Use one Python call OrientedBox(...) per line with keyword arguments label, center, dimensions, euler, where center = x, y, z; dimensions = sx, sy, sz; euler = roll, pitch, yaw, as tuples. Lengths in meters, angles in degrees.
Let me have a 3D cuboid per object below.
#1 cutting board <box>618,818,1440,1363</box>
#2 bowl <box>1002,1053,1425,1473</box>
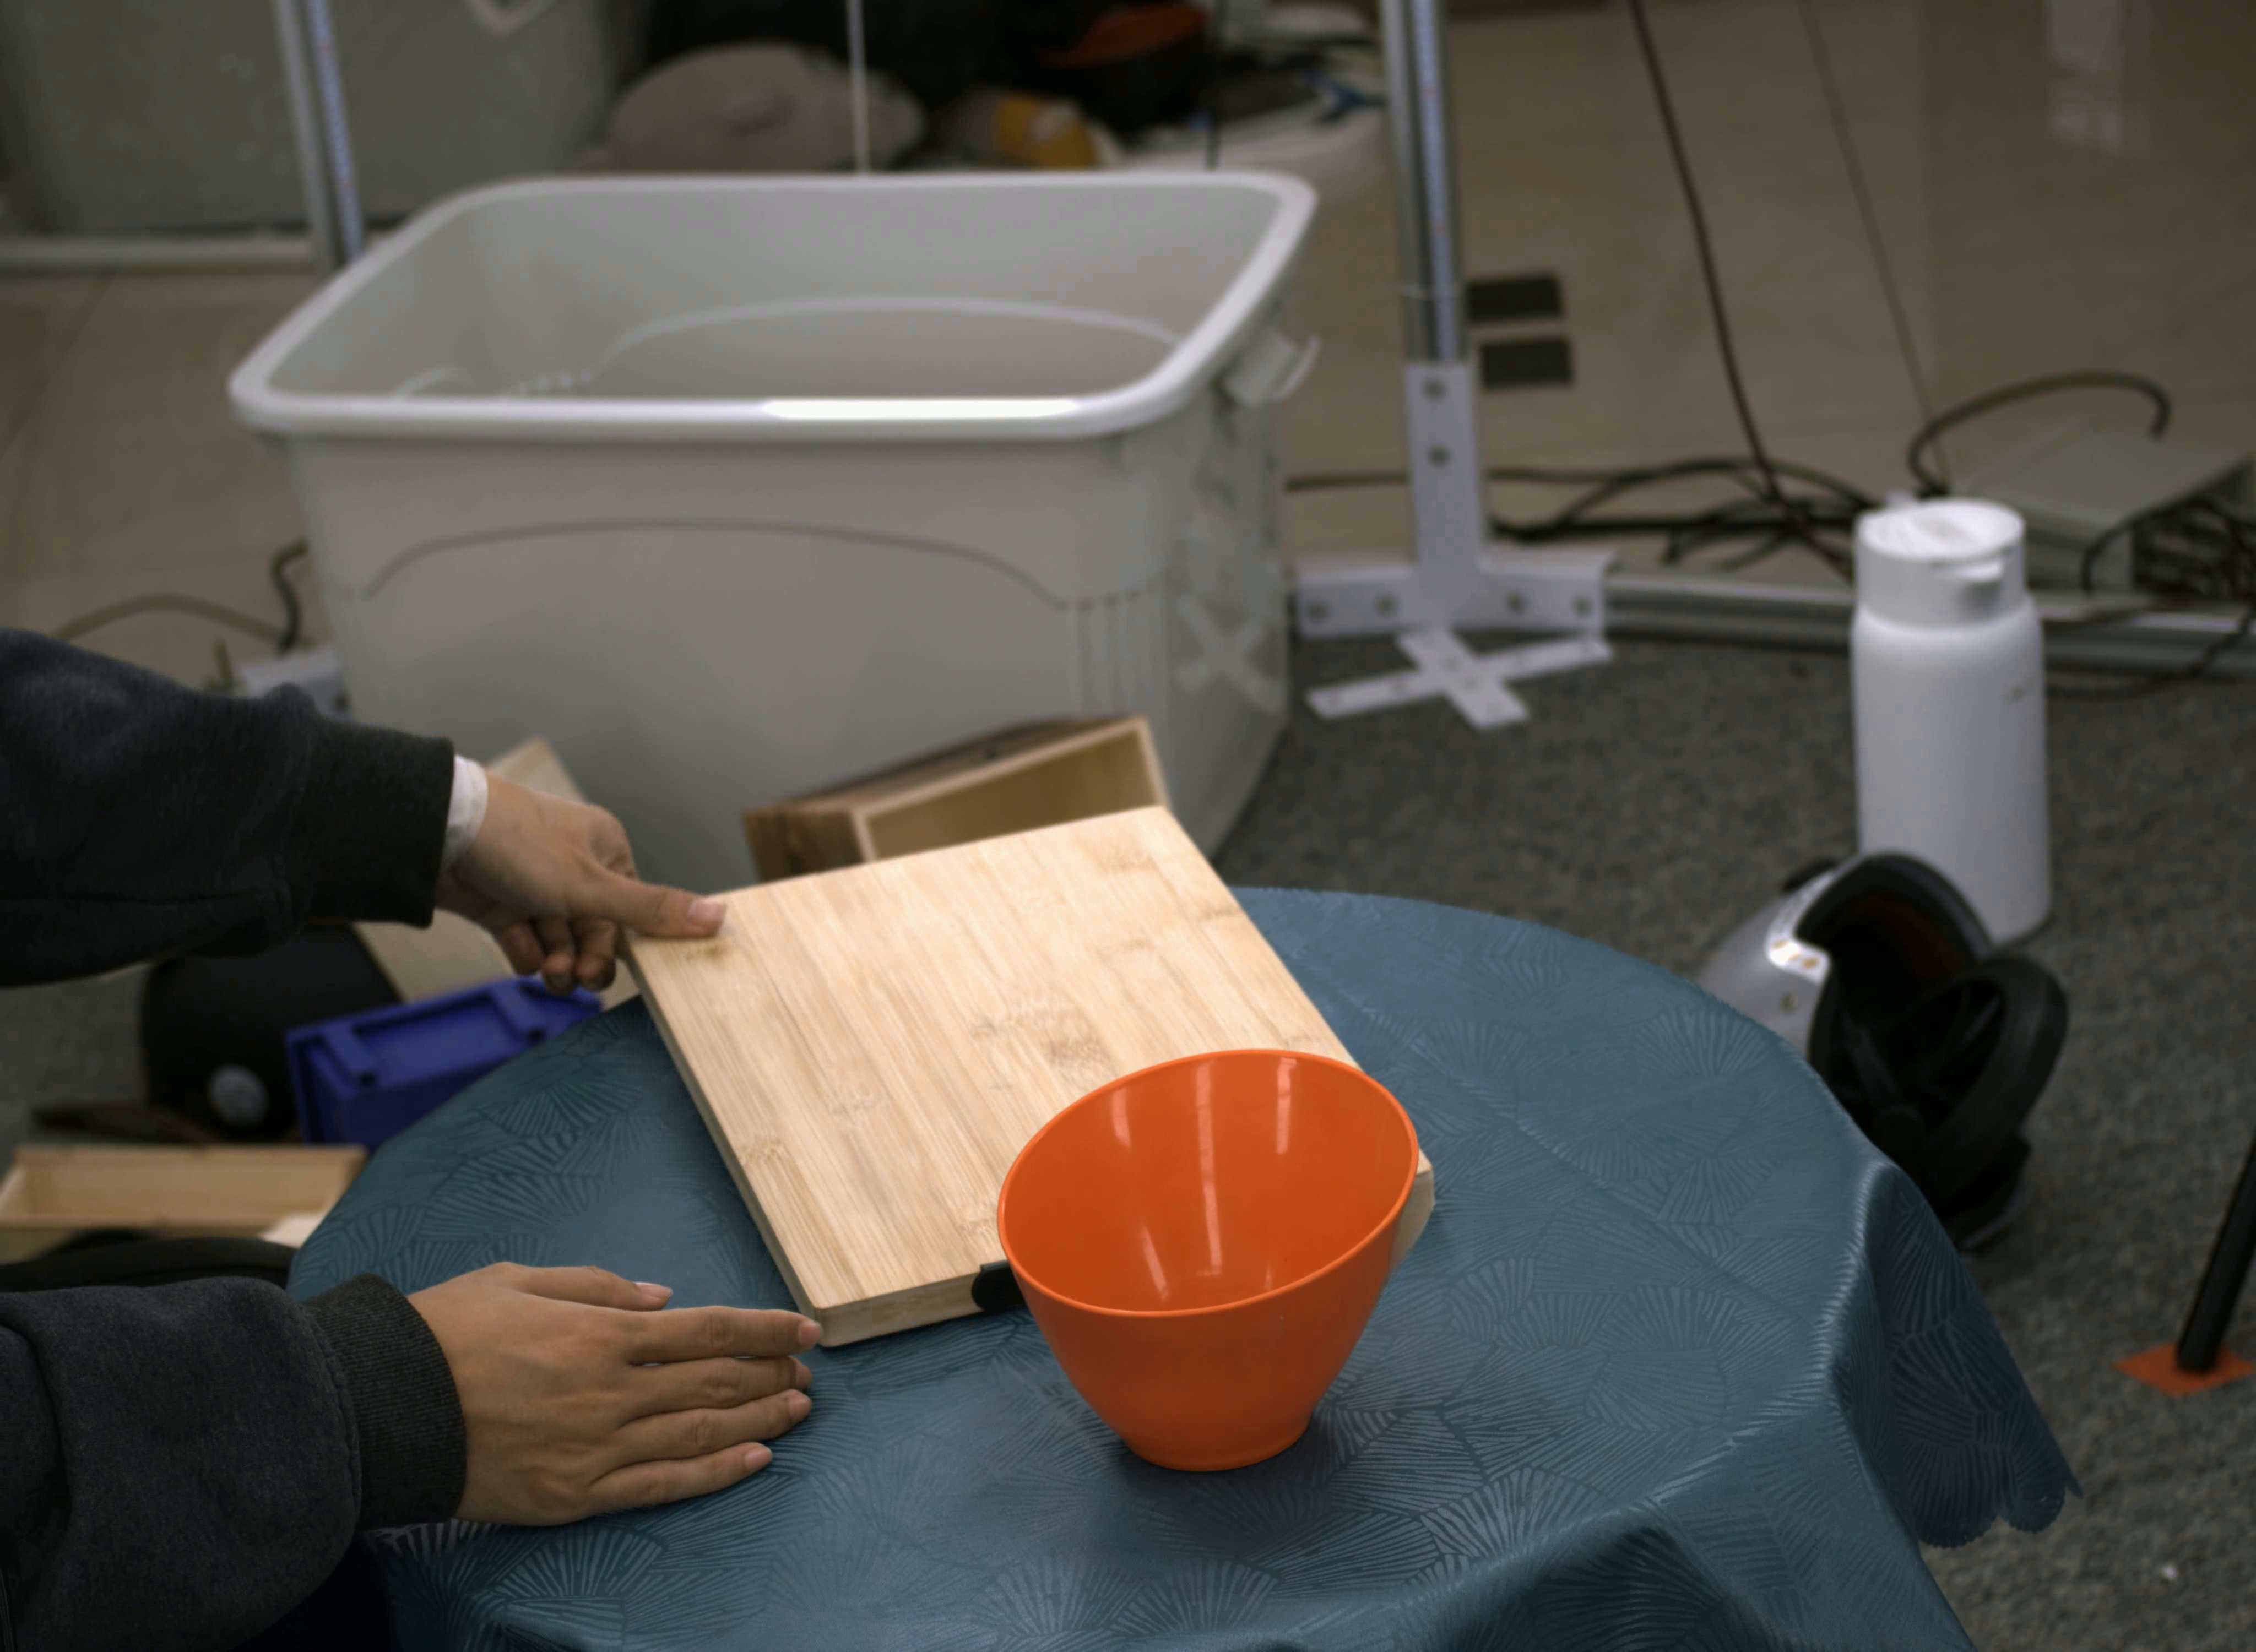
OrientedBox(label="cutting board", center=(-0.047, 0.095, 2.219), dimensions=(0.250, 0.024, 0.344), euler=(-13, 27, -14))
OrientedBox(label="bowl", center=(0.032, 0.159, 1.974), dimensions=(0.148, 0.106, 0.146), euler=(-4, 26, 2))
